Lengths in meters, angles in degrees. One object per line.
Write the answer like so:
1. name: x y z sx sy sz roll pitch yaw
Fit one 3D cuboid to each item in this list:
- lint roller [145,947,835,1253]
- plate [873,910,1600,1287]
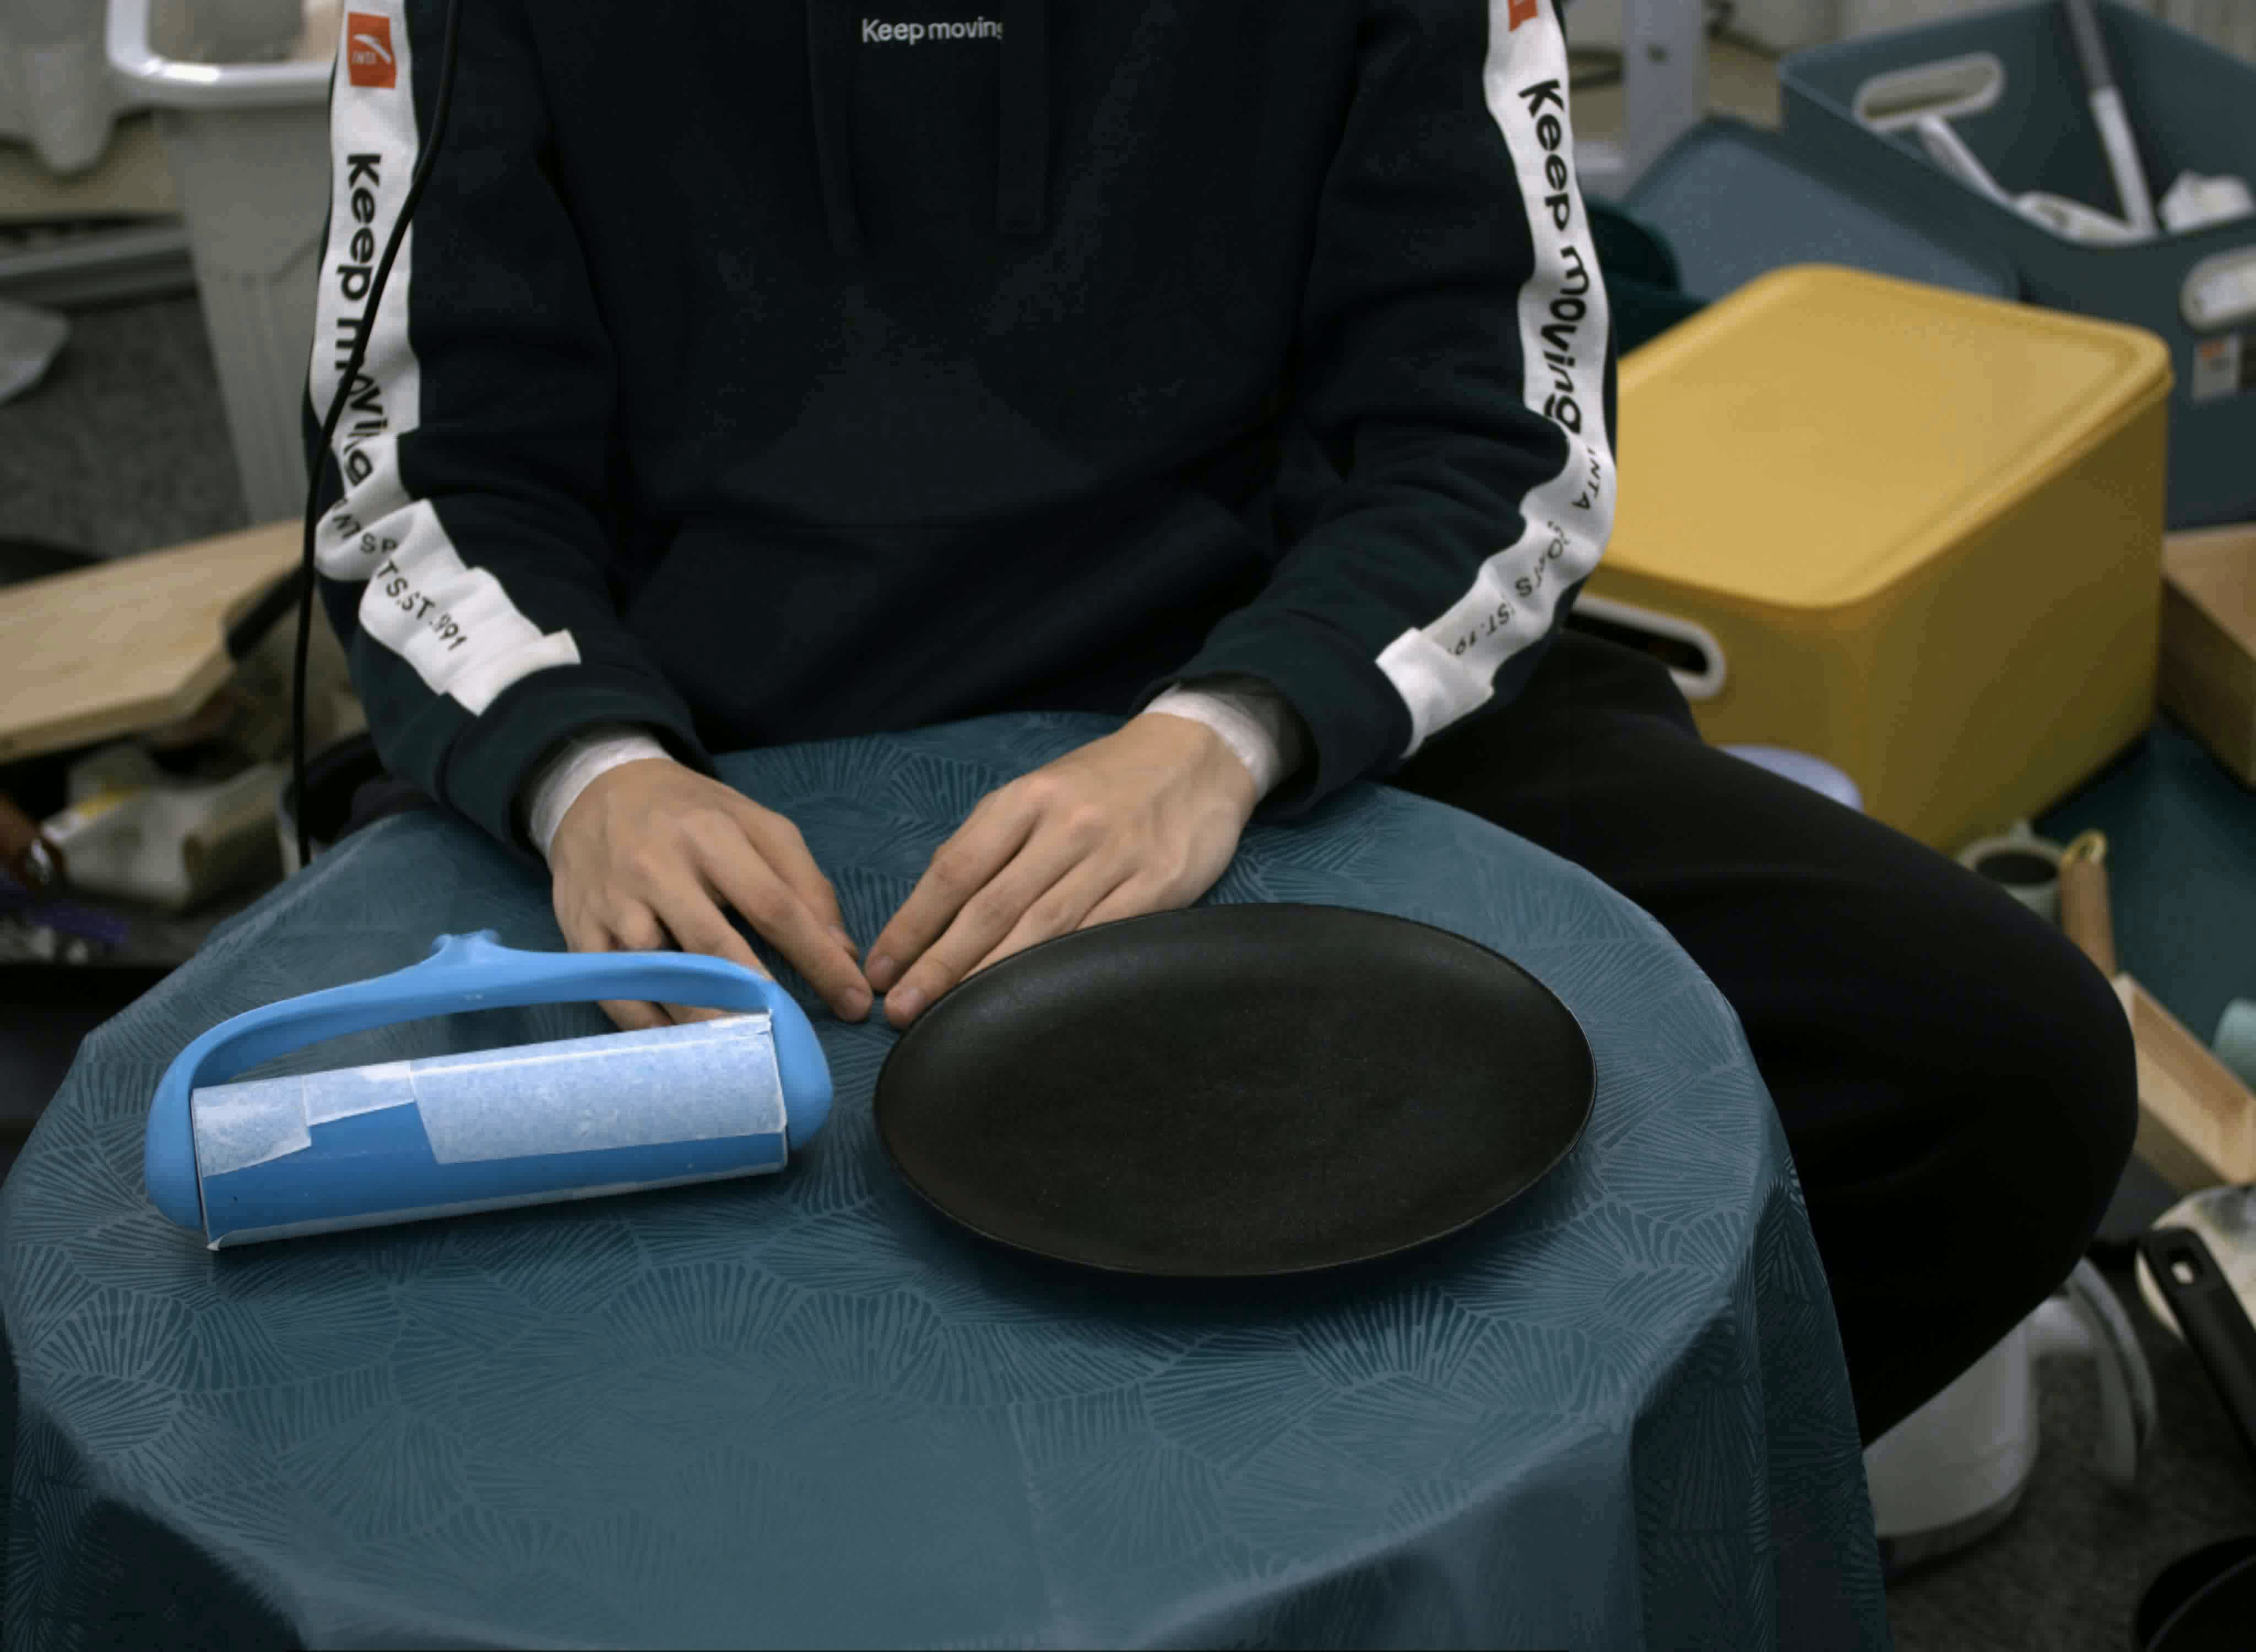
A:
1. lint roller: -0.223 0.076 1.911 0.229 0.067 0.182 -9 27 -11
2. plate: 0.036 0.096 1.882 0.243 0.023 0.248 -2 27 1
